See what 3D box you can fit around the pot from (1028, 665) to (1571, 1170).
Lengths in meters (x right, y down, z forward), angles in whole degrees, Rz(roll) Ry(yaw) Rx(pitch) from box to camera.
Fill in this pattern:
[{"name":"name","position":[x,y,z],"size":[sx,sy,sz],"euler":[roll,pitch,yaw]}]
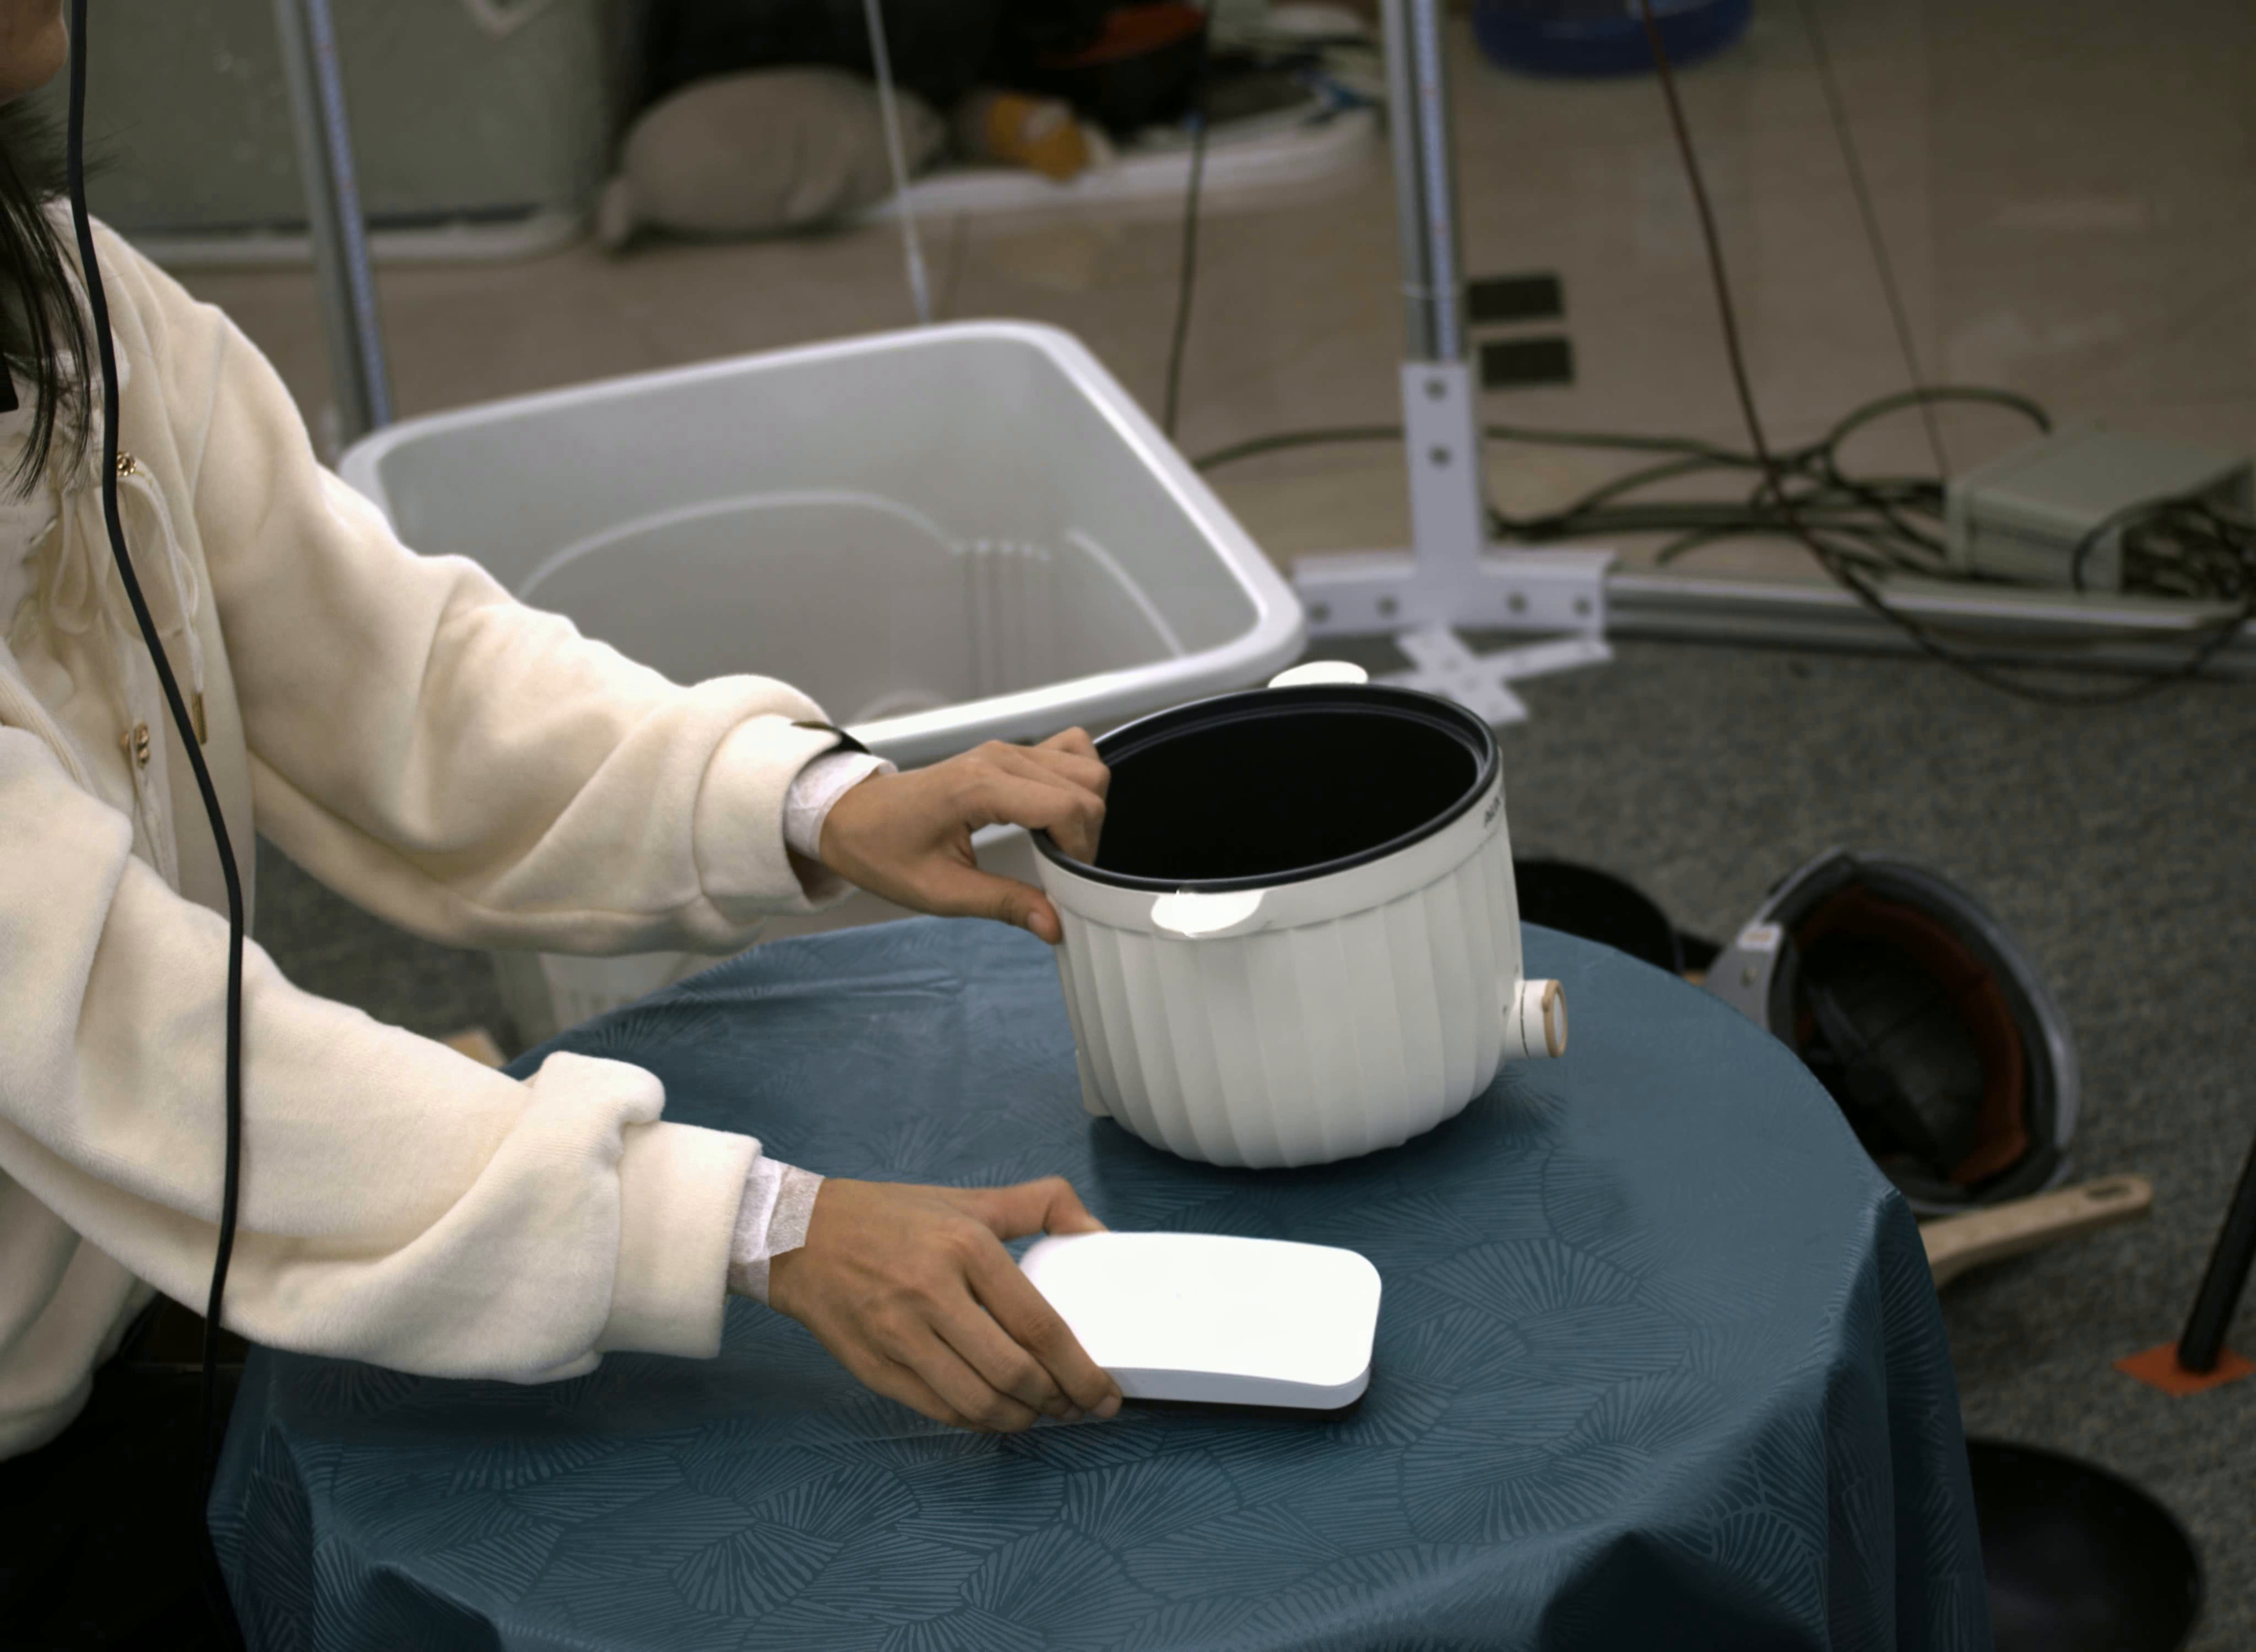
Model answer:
[{"name":"pot","position":[0.068,0.042,2.167],"size":[0.190,0.145,0.237],"euler":[-5,26,16]}]

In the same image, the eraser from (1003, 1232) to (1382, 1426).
[{"name":"eraser","position":[0.023,0.178,2.000],"size":[0.131,0.035,0.062],"euler":[2,42,11]}]
